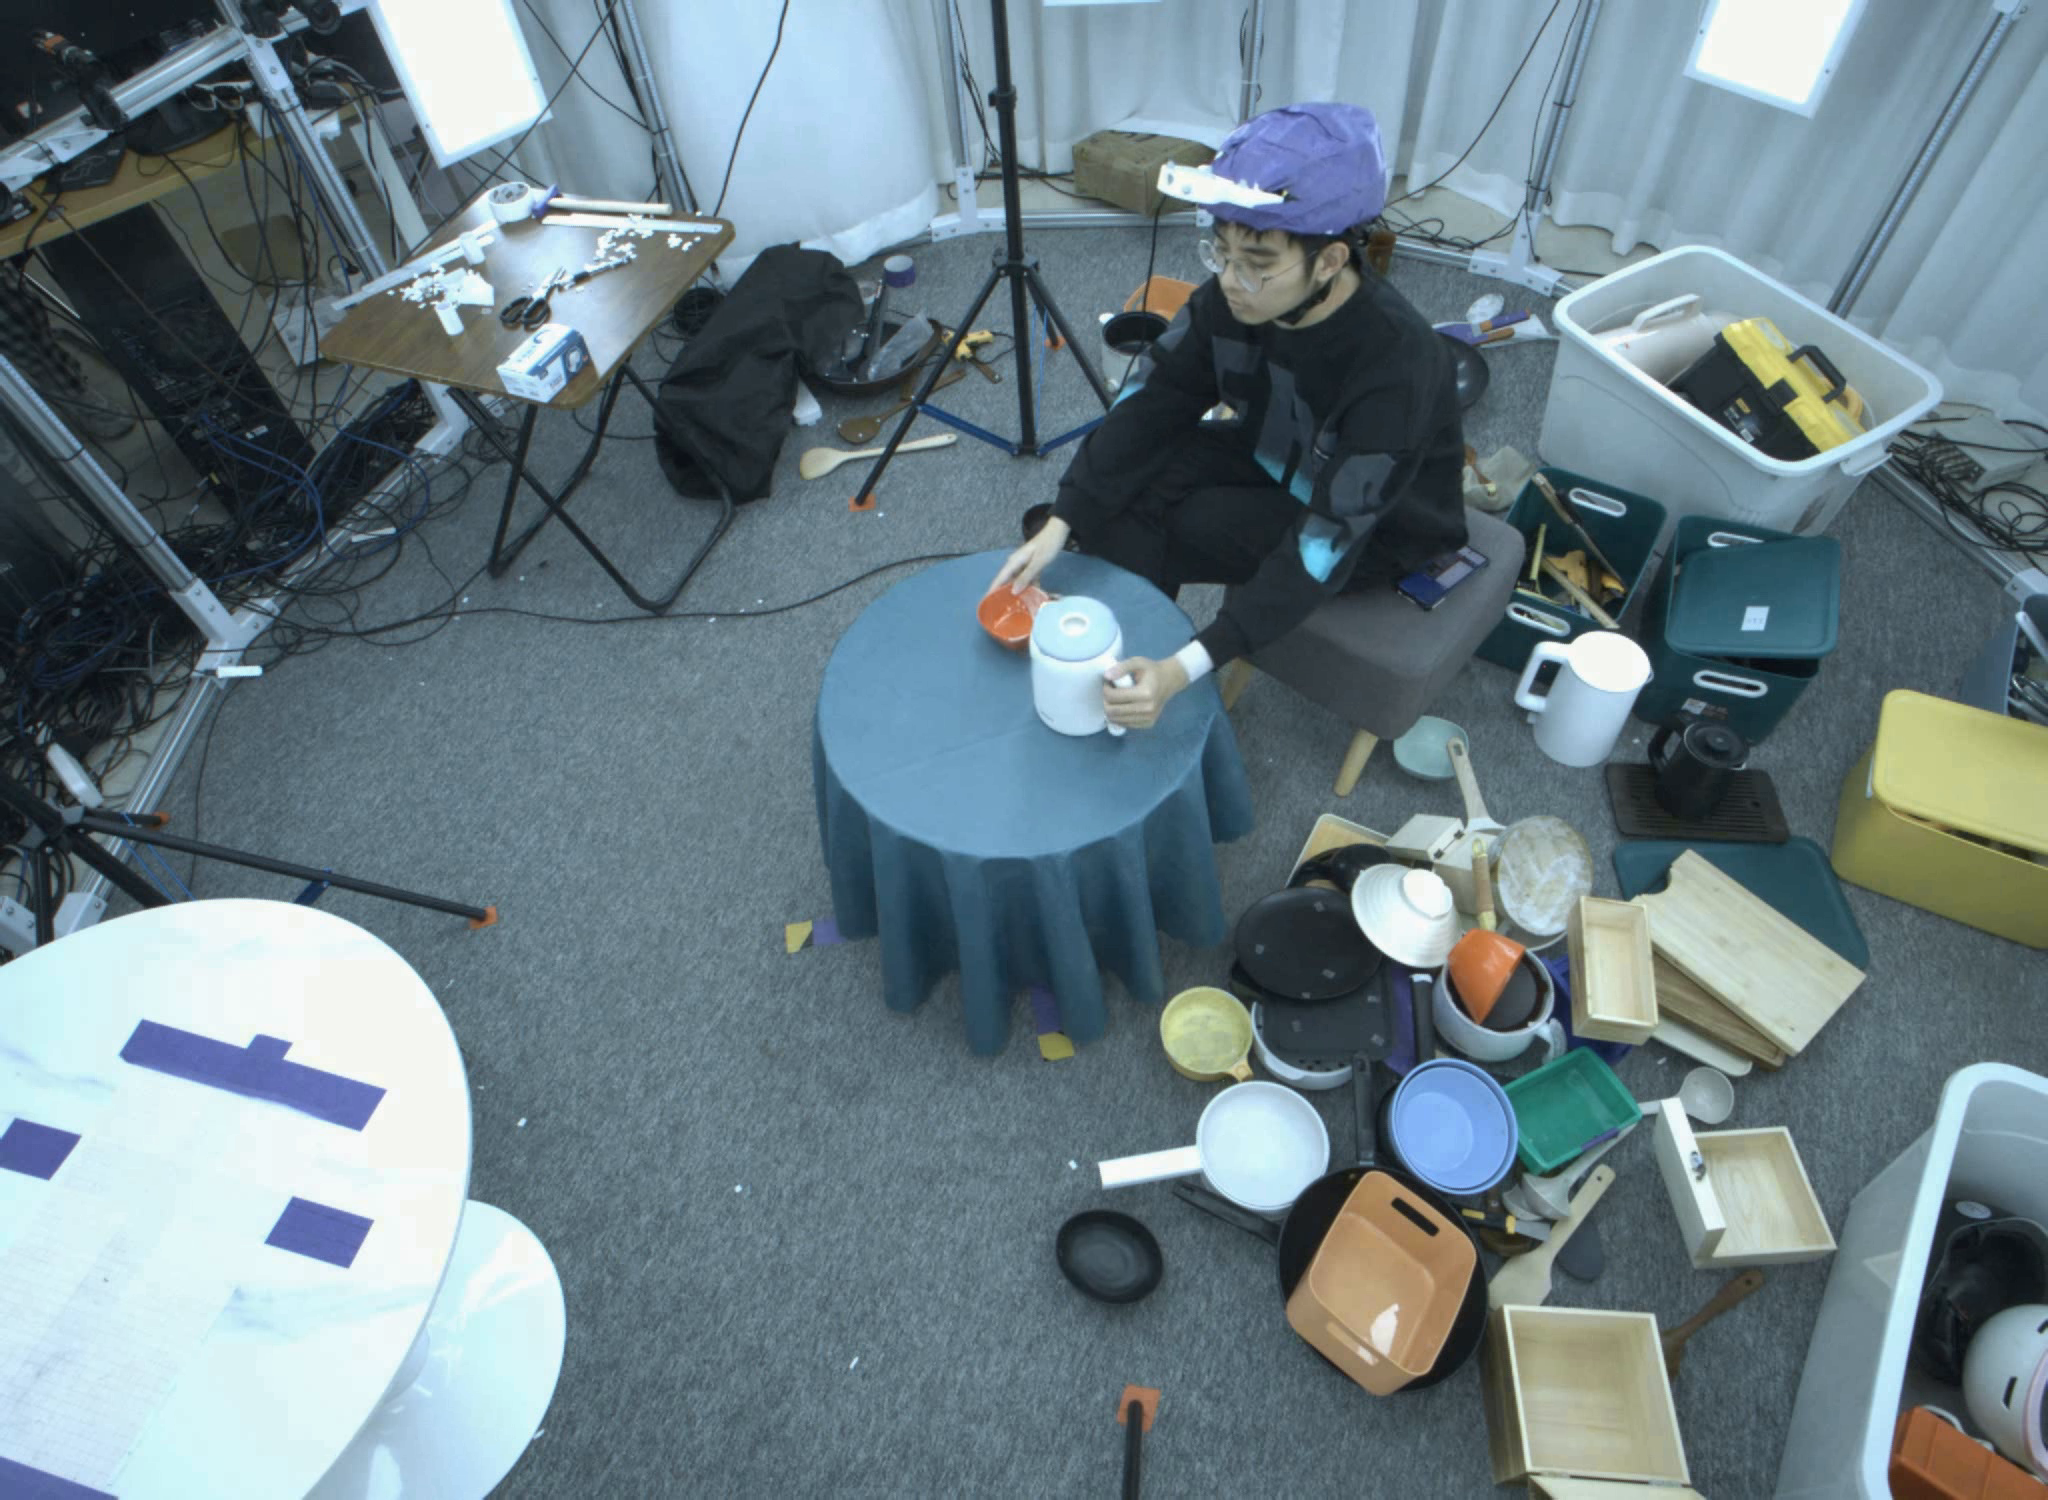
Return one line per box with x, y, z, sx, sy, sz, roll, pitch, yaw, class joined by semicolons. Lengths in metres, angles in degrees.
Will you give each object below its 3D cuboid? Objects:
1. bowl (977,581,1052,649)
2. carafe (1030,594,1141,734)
-0.011;-0.201;1.893;0.118;0.052;0.117;-2;55;4;bowl
0.093;-0.108;1.751;0.133;0.184;0.188;-40;64;-21;carafe
